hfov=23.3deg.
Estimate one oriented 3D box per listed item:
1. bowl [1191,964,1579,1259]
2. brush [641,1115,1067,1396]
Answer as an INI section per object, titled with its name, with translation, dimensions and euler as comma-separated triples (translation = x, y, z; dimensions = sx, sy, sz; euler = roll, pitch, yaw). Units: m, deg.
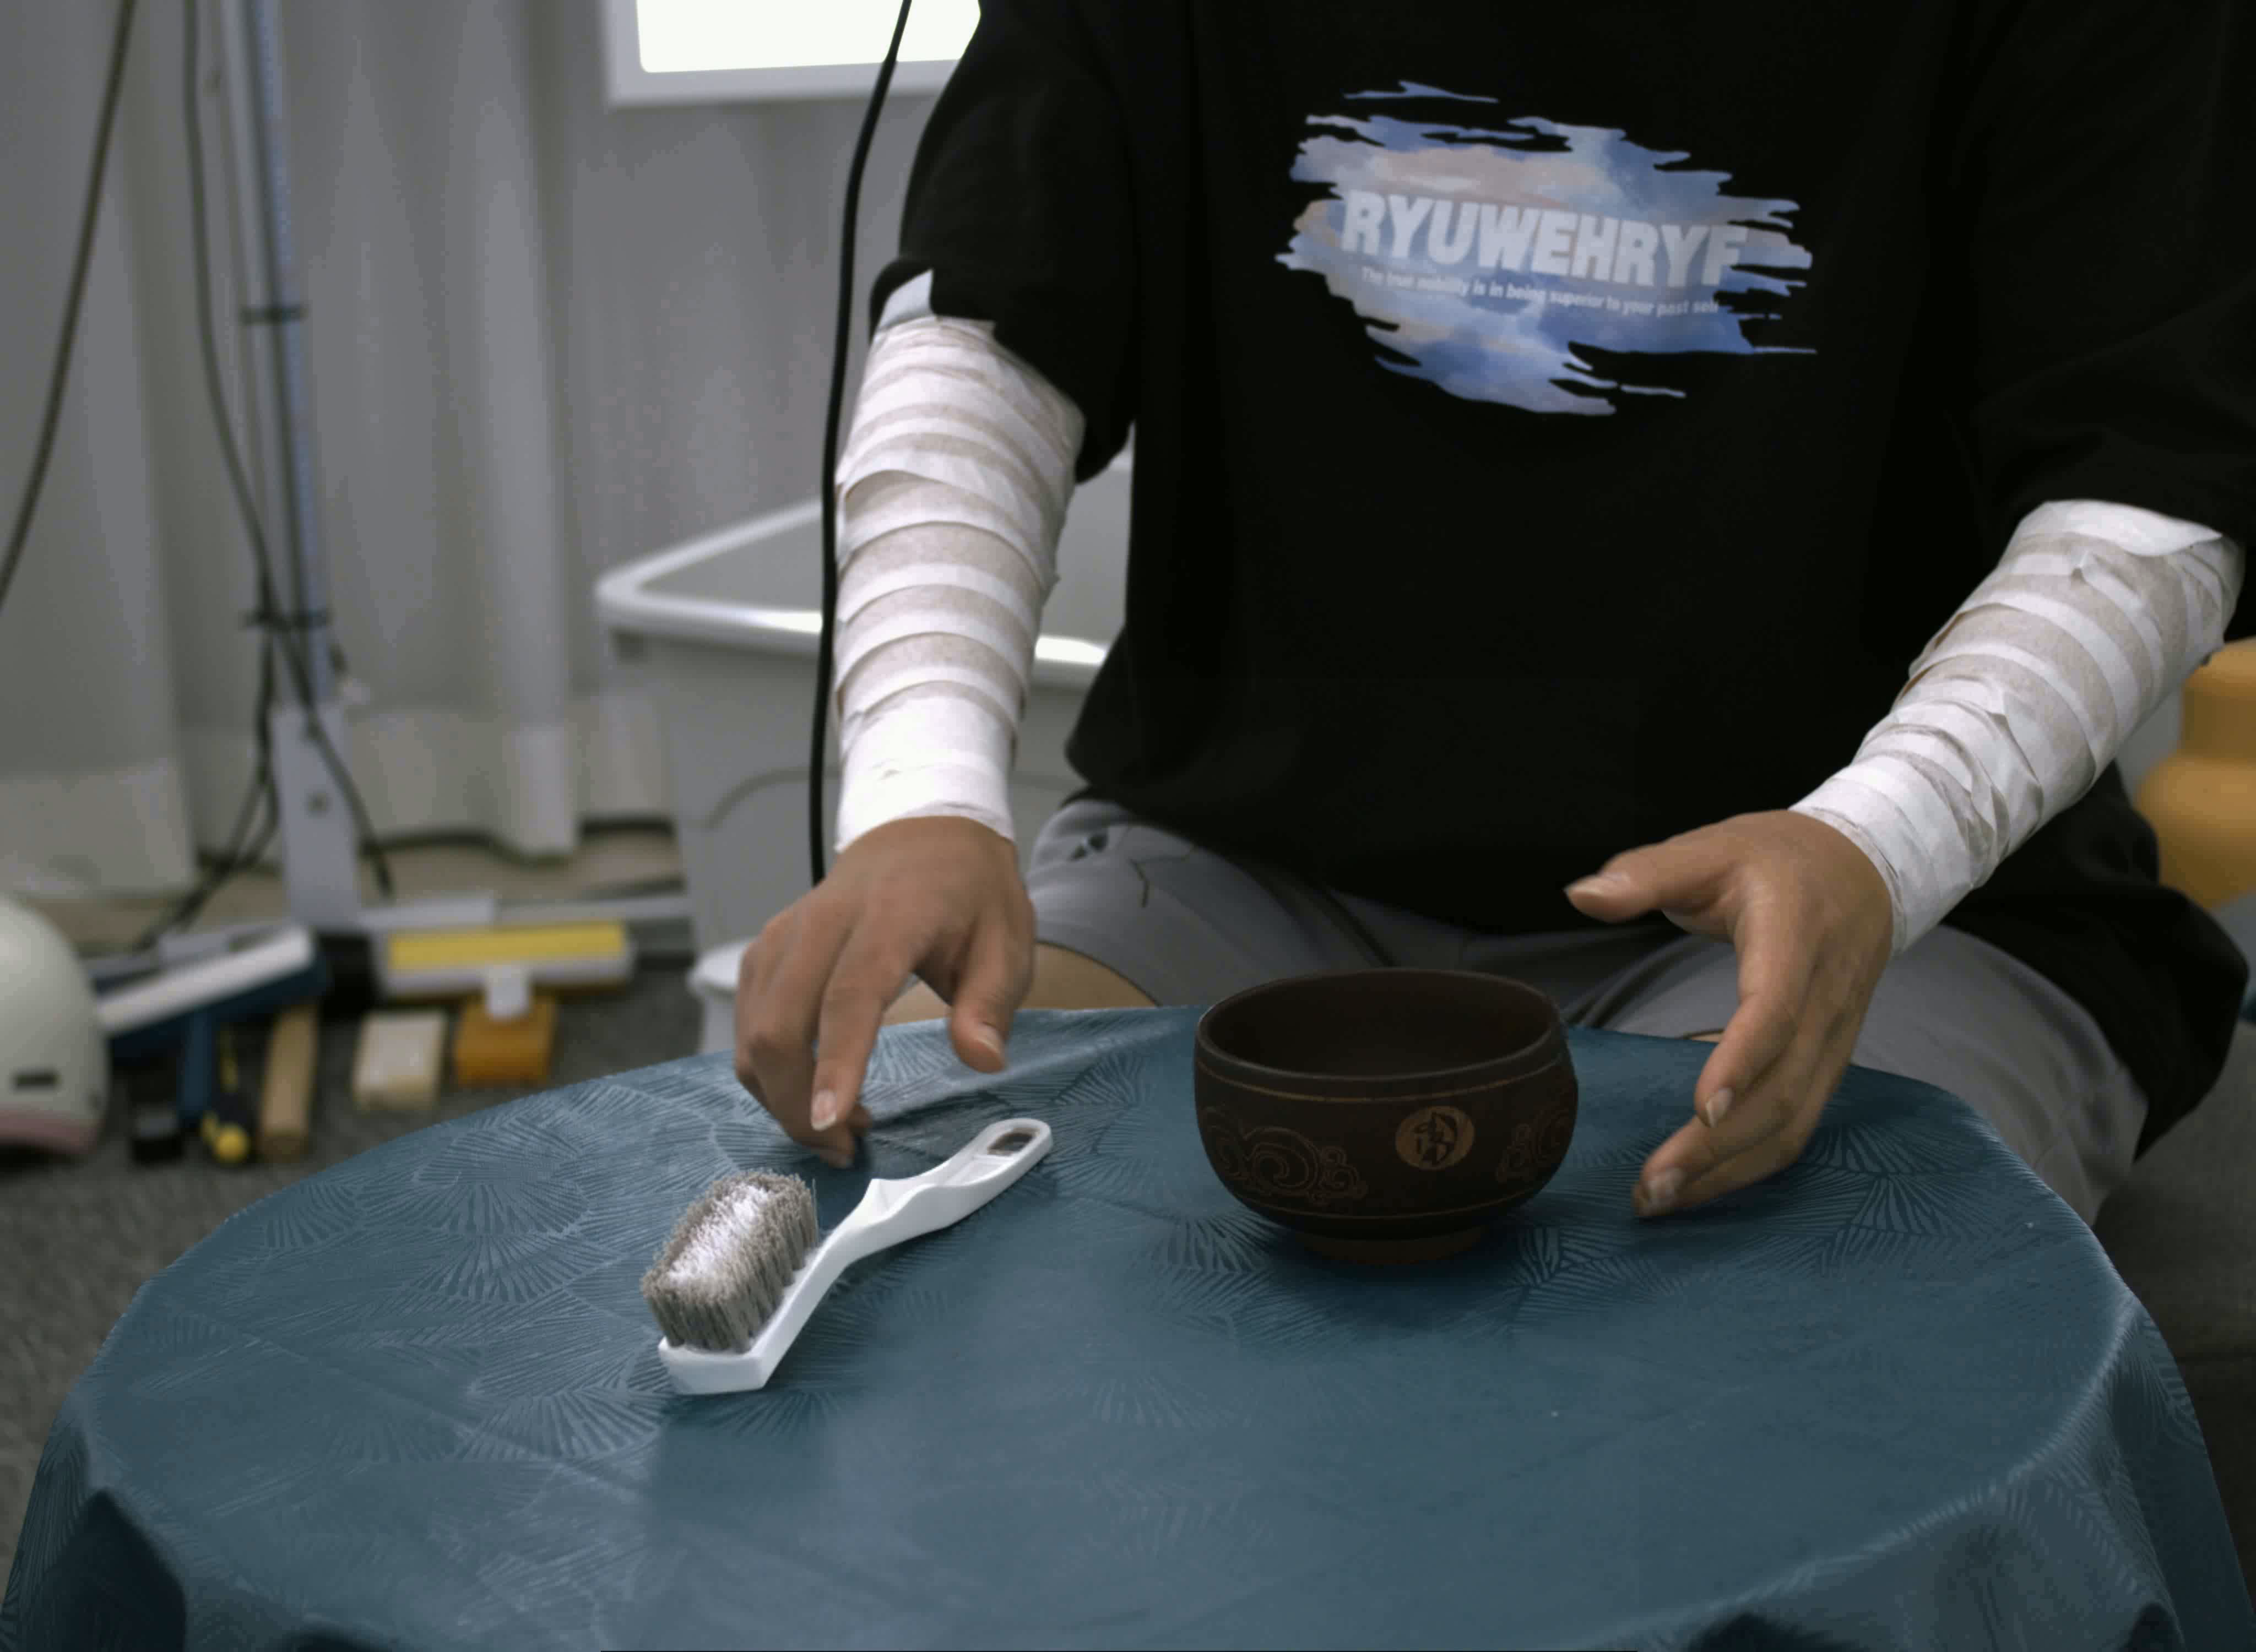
[bowl]
translation = 0.078, 0.090, 1.651
dimensions = 0.117, 0.069, 0.119
euler = -3, 12, 0
[brush]
translation = -0.077, 0.109, 1.648
dimensions = 0.034, 0.050, 0.244
euler = 5, 17, 24
